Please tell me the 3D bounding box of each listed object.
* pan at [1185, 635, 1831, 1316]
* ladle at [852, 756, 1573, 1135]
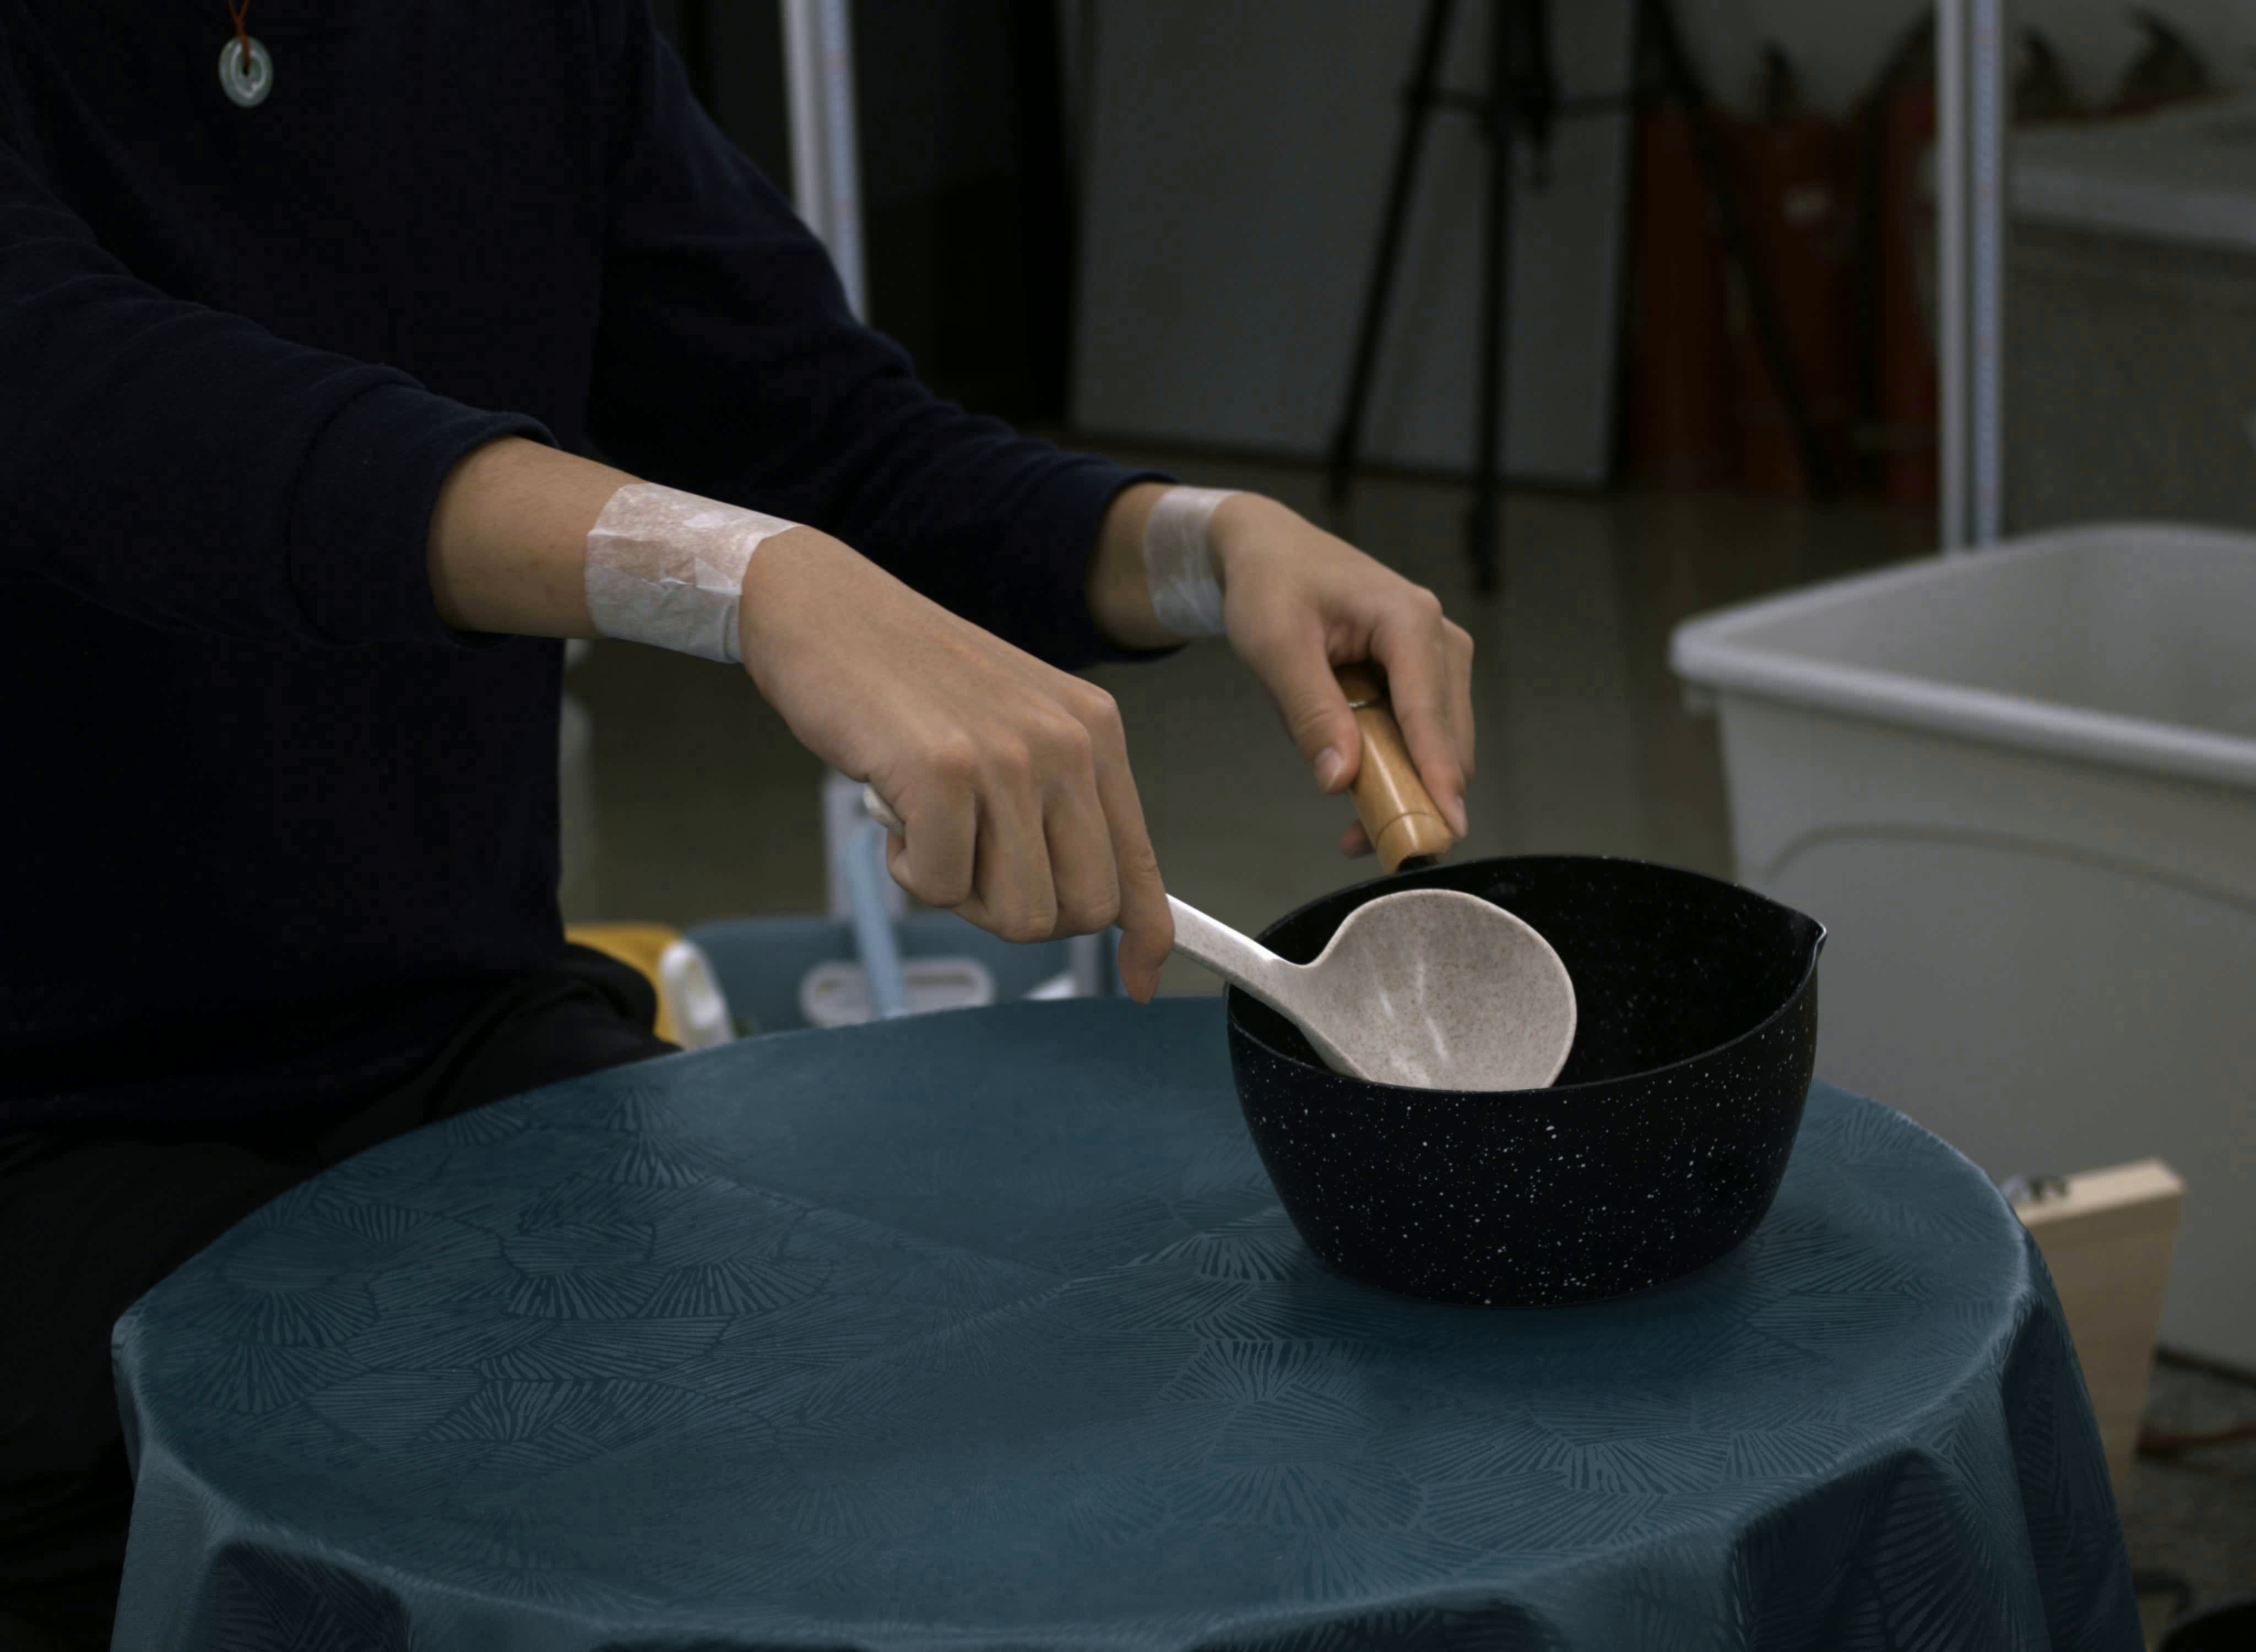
[{"bbox_3d":[0.106,0.043,1.754,0.204,0.109,0.345,-11,23,-9],"label":"pan"},{"bbox_3d":[0.030,0.018,1.554,0.070,0.090,0.270,-28,-35,26],"label":"ladle"}]
